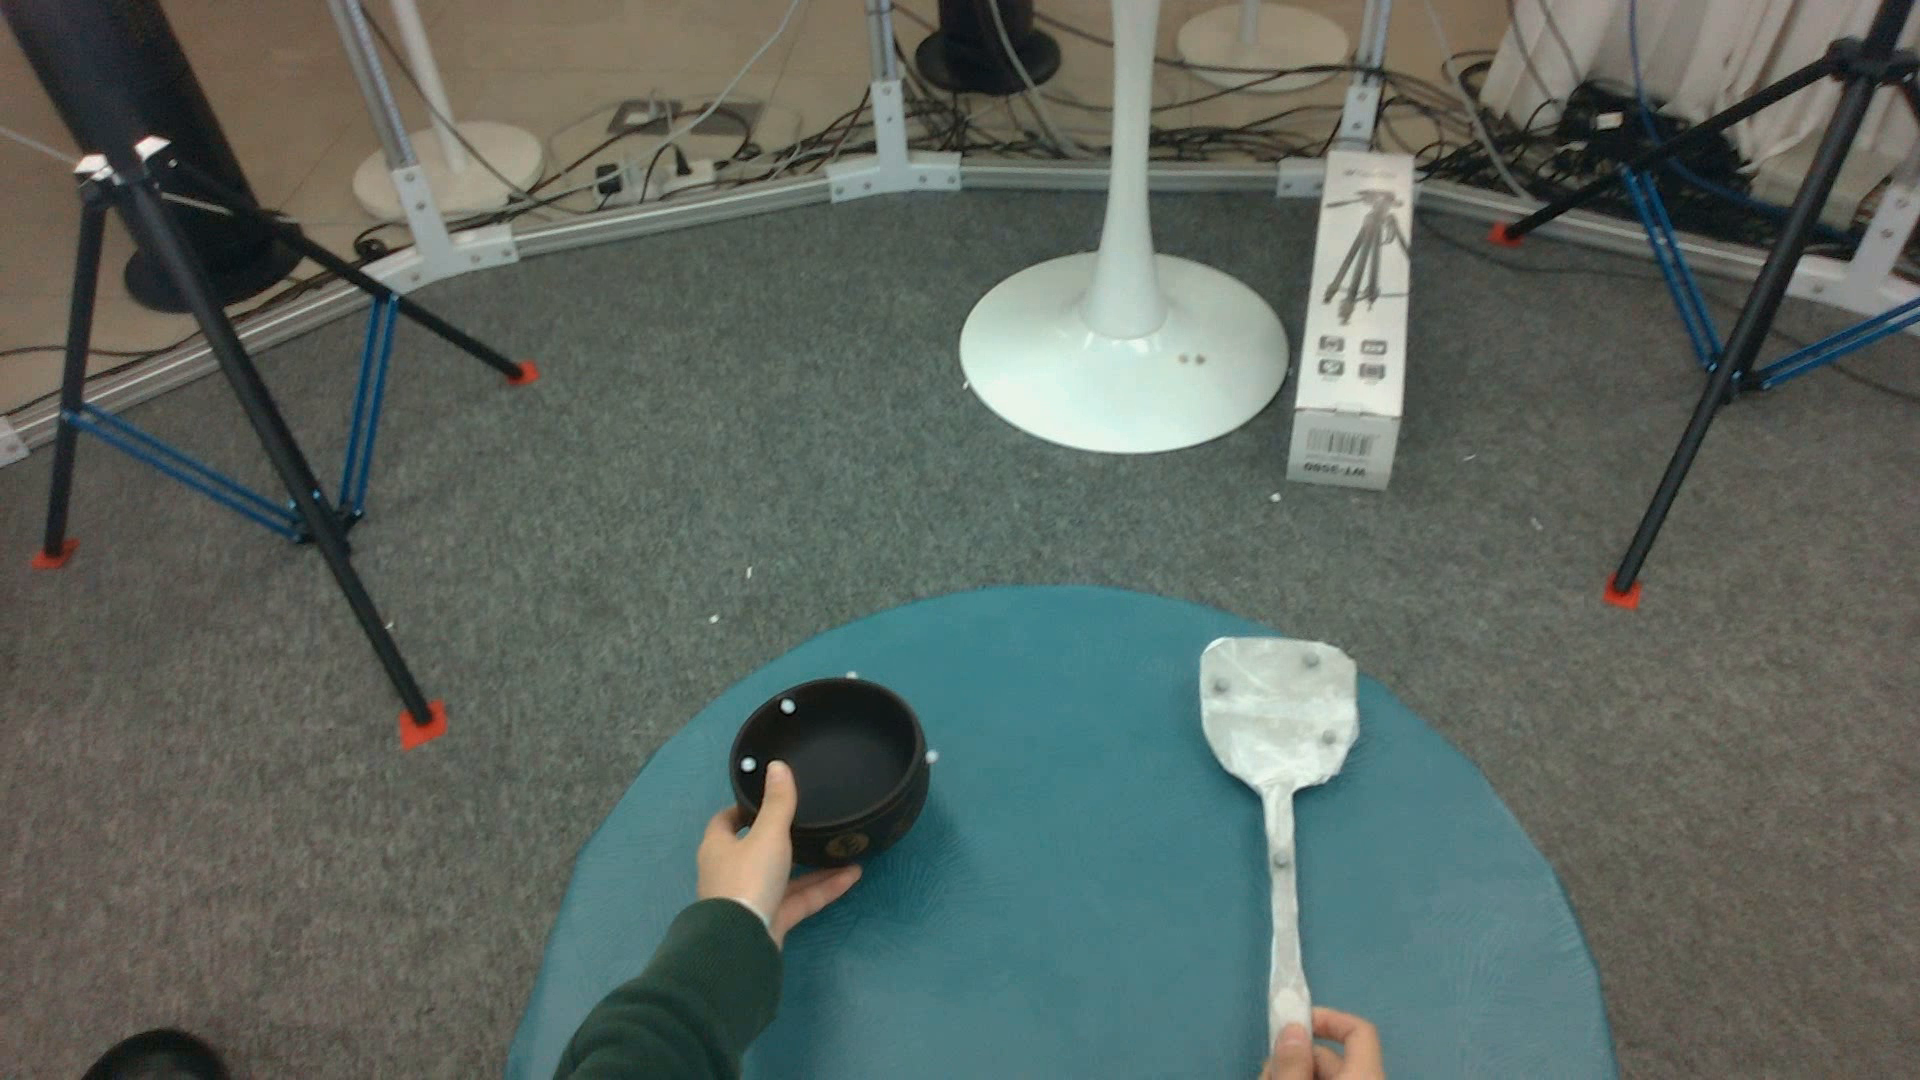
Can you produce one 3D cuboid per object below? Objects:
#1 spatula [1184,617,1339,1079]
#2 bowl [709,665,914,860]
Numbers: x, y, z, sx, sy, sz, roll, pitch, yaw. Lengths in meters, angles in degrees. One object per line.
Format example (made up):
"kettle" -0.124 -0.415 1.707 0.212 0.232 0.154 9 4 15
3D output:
"spatula" 0.169 0.191 0.779 0.098 0.044 0.367 7 44 6
"bowl" -0.084 0.139 0.822 0.118 0.069 0.118 -5 44 5
